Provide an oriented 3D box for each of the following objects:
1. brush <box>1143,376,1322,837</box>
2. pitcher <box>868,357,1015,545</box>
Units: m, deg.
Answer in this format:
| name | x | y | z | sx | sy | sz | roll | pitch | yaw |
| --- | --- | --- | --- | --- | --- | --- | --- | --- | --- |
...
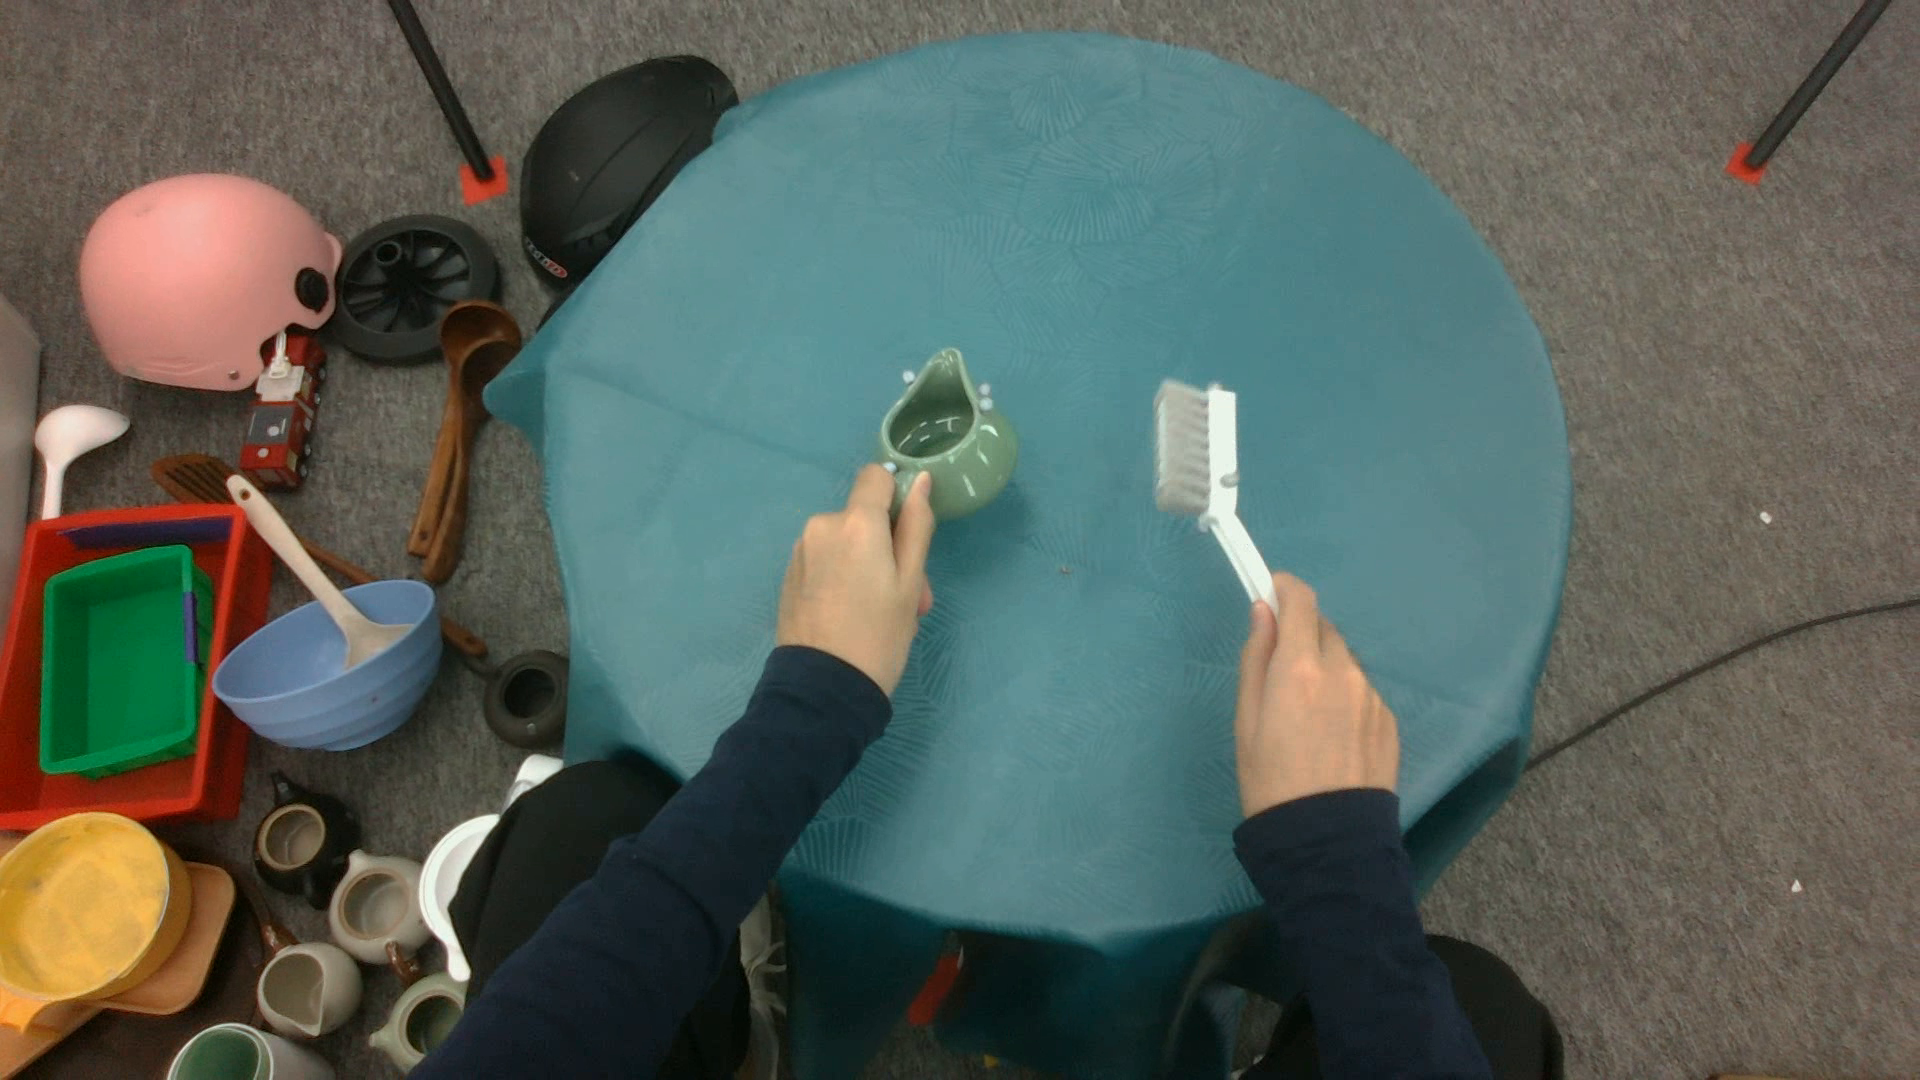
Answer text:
| name | x | y | z | sx | sy | sz | roll | pitch | yaw |
| --- | --- | --- | --- | --- | --- | --- | --- | --- | --- |
| brush | 0.134 | 0.033 | 0.703 | 0.050 | 0.034 | 0.244 | -9 | 81 | -13 |
| pitcher | -0.015 | -0.041 | 0.758 | 0.084 | 0.056 | 0.113 | 0 | 55 | 18 |
